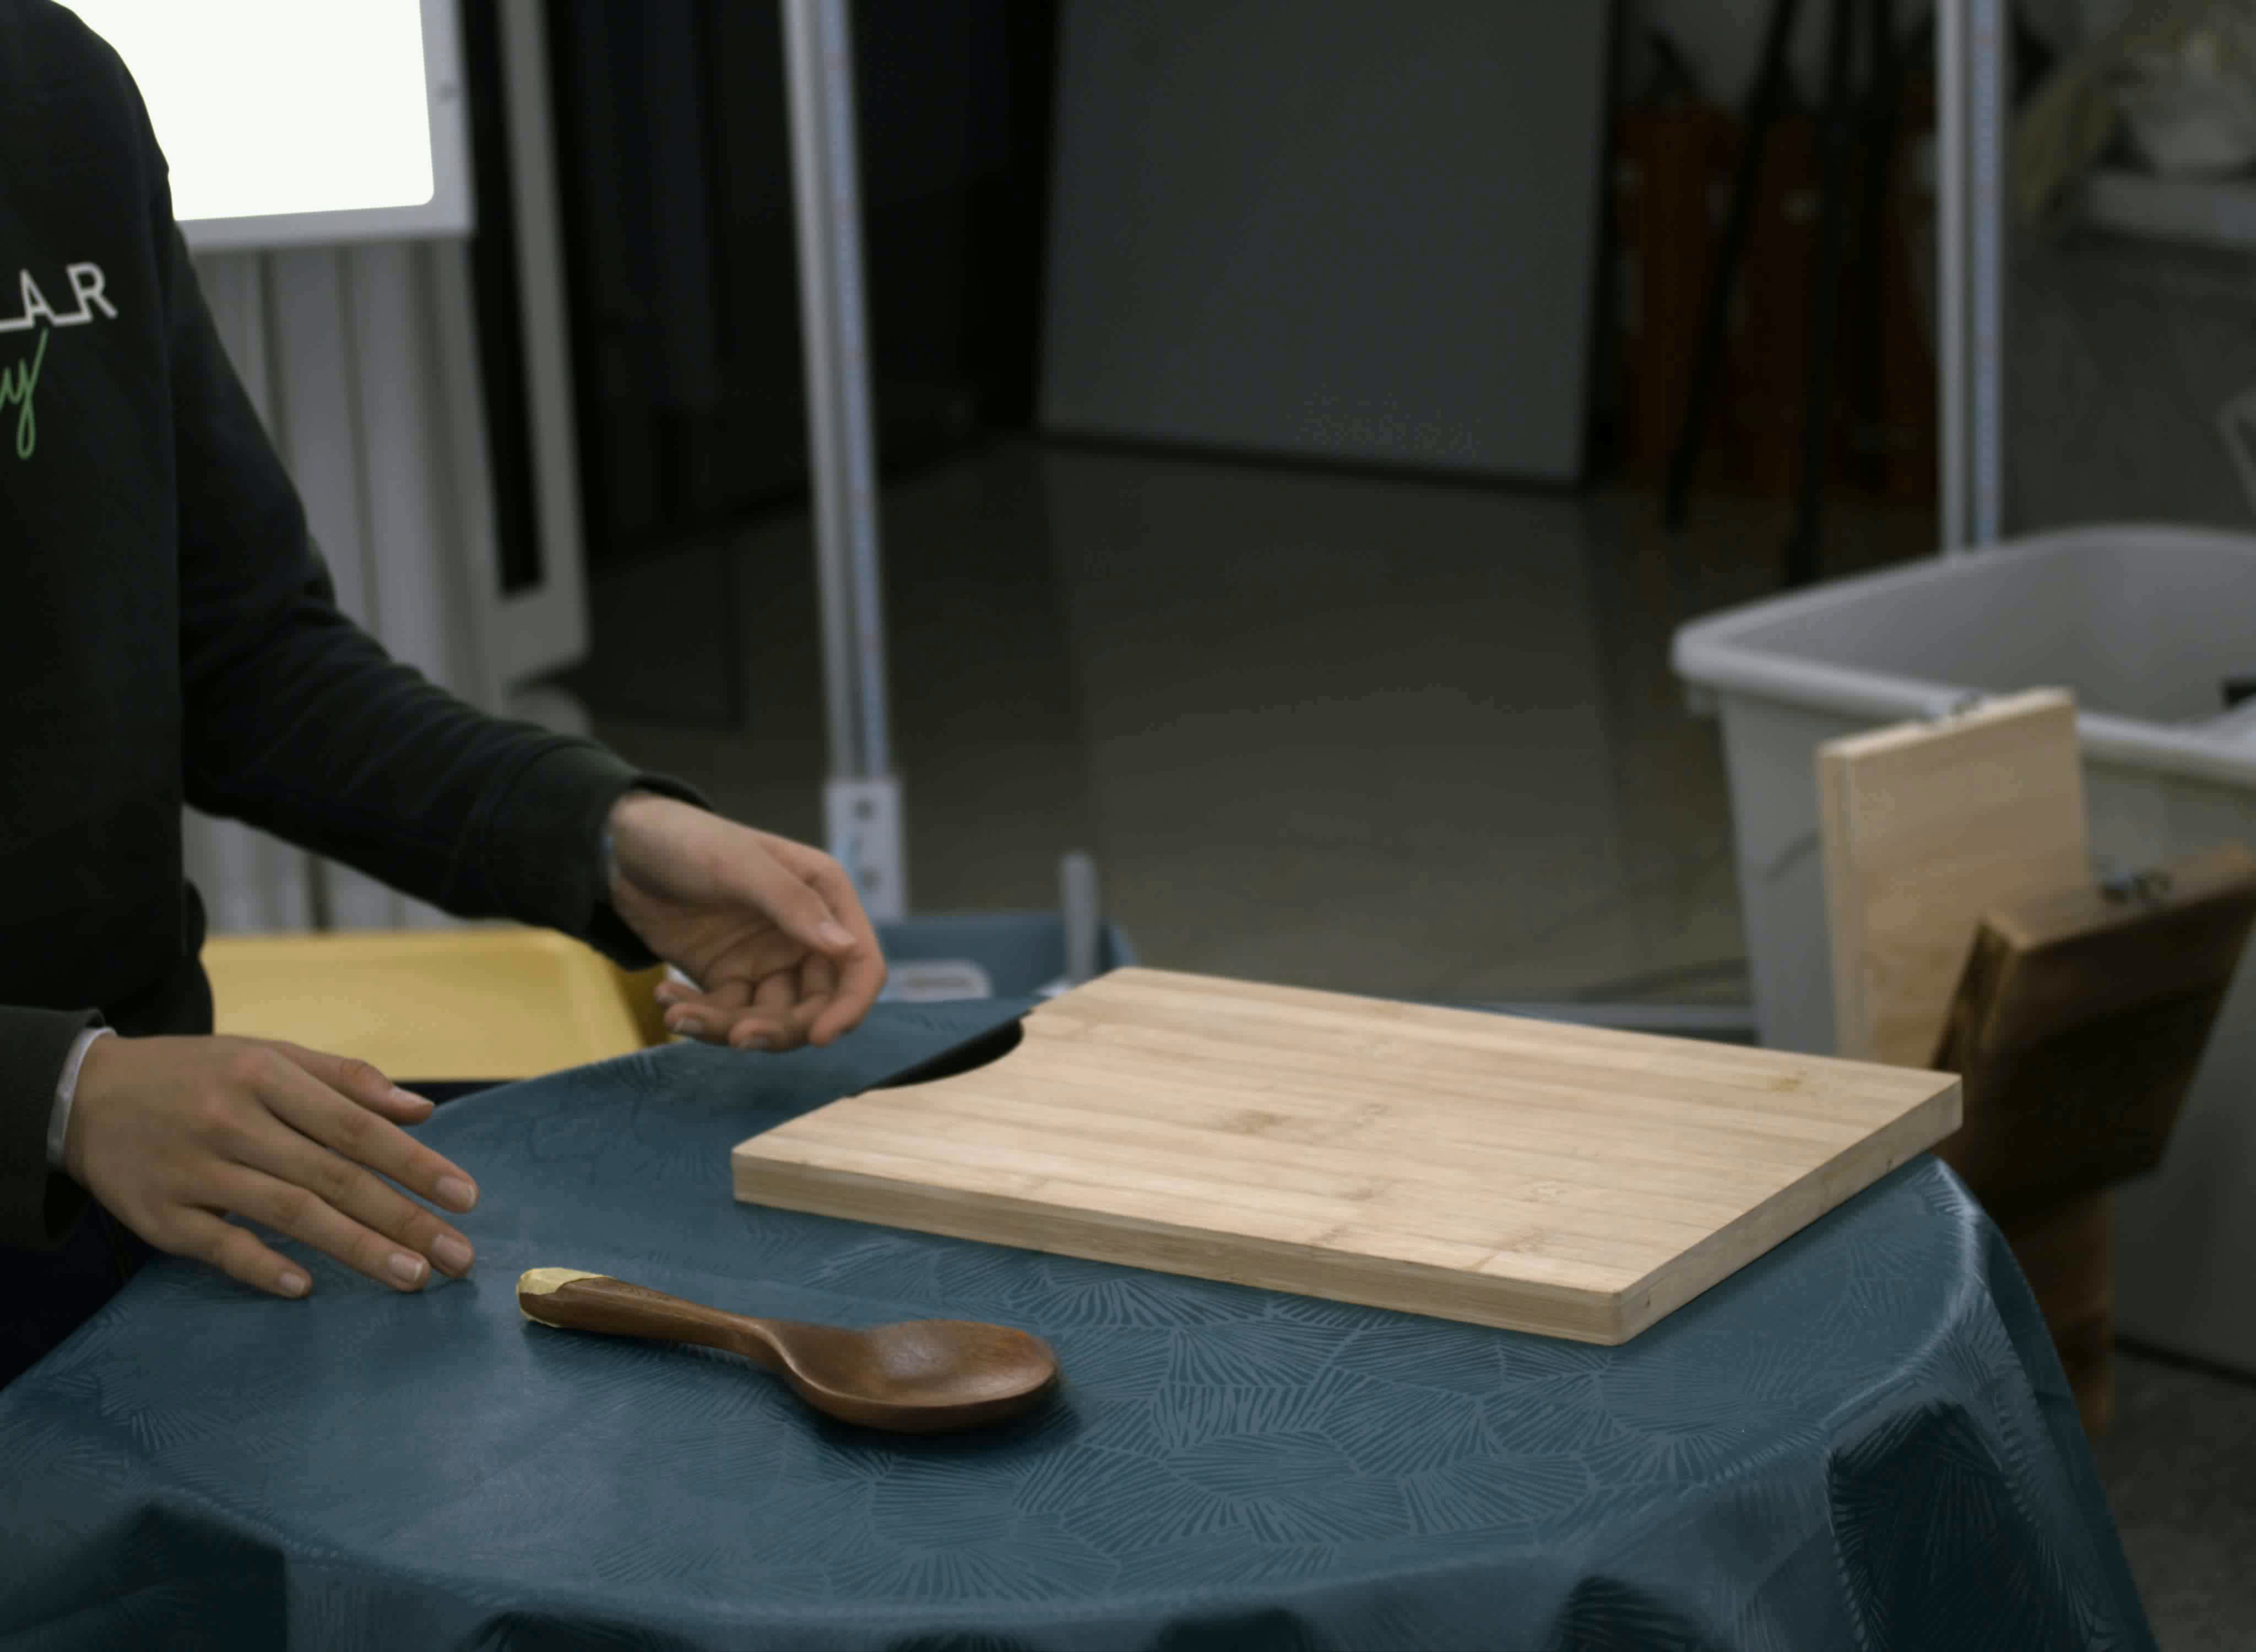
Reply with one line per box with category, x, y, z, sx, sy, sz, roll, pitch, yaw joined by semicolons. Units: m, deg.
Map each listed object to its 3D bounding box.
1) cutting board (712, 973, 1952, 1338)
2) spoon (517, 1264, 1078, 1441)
cutting board;0.067;0.104;1.787;0.350;0.024;0.246;5;16;34
spoon;-0.104;0.157;1.621;0.217;0.017;0.074;9;20;40
